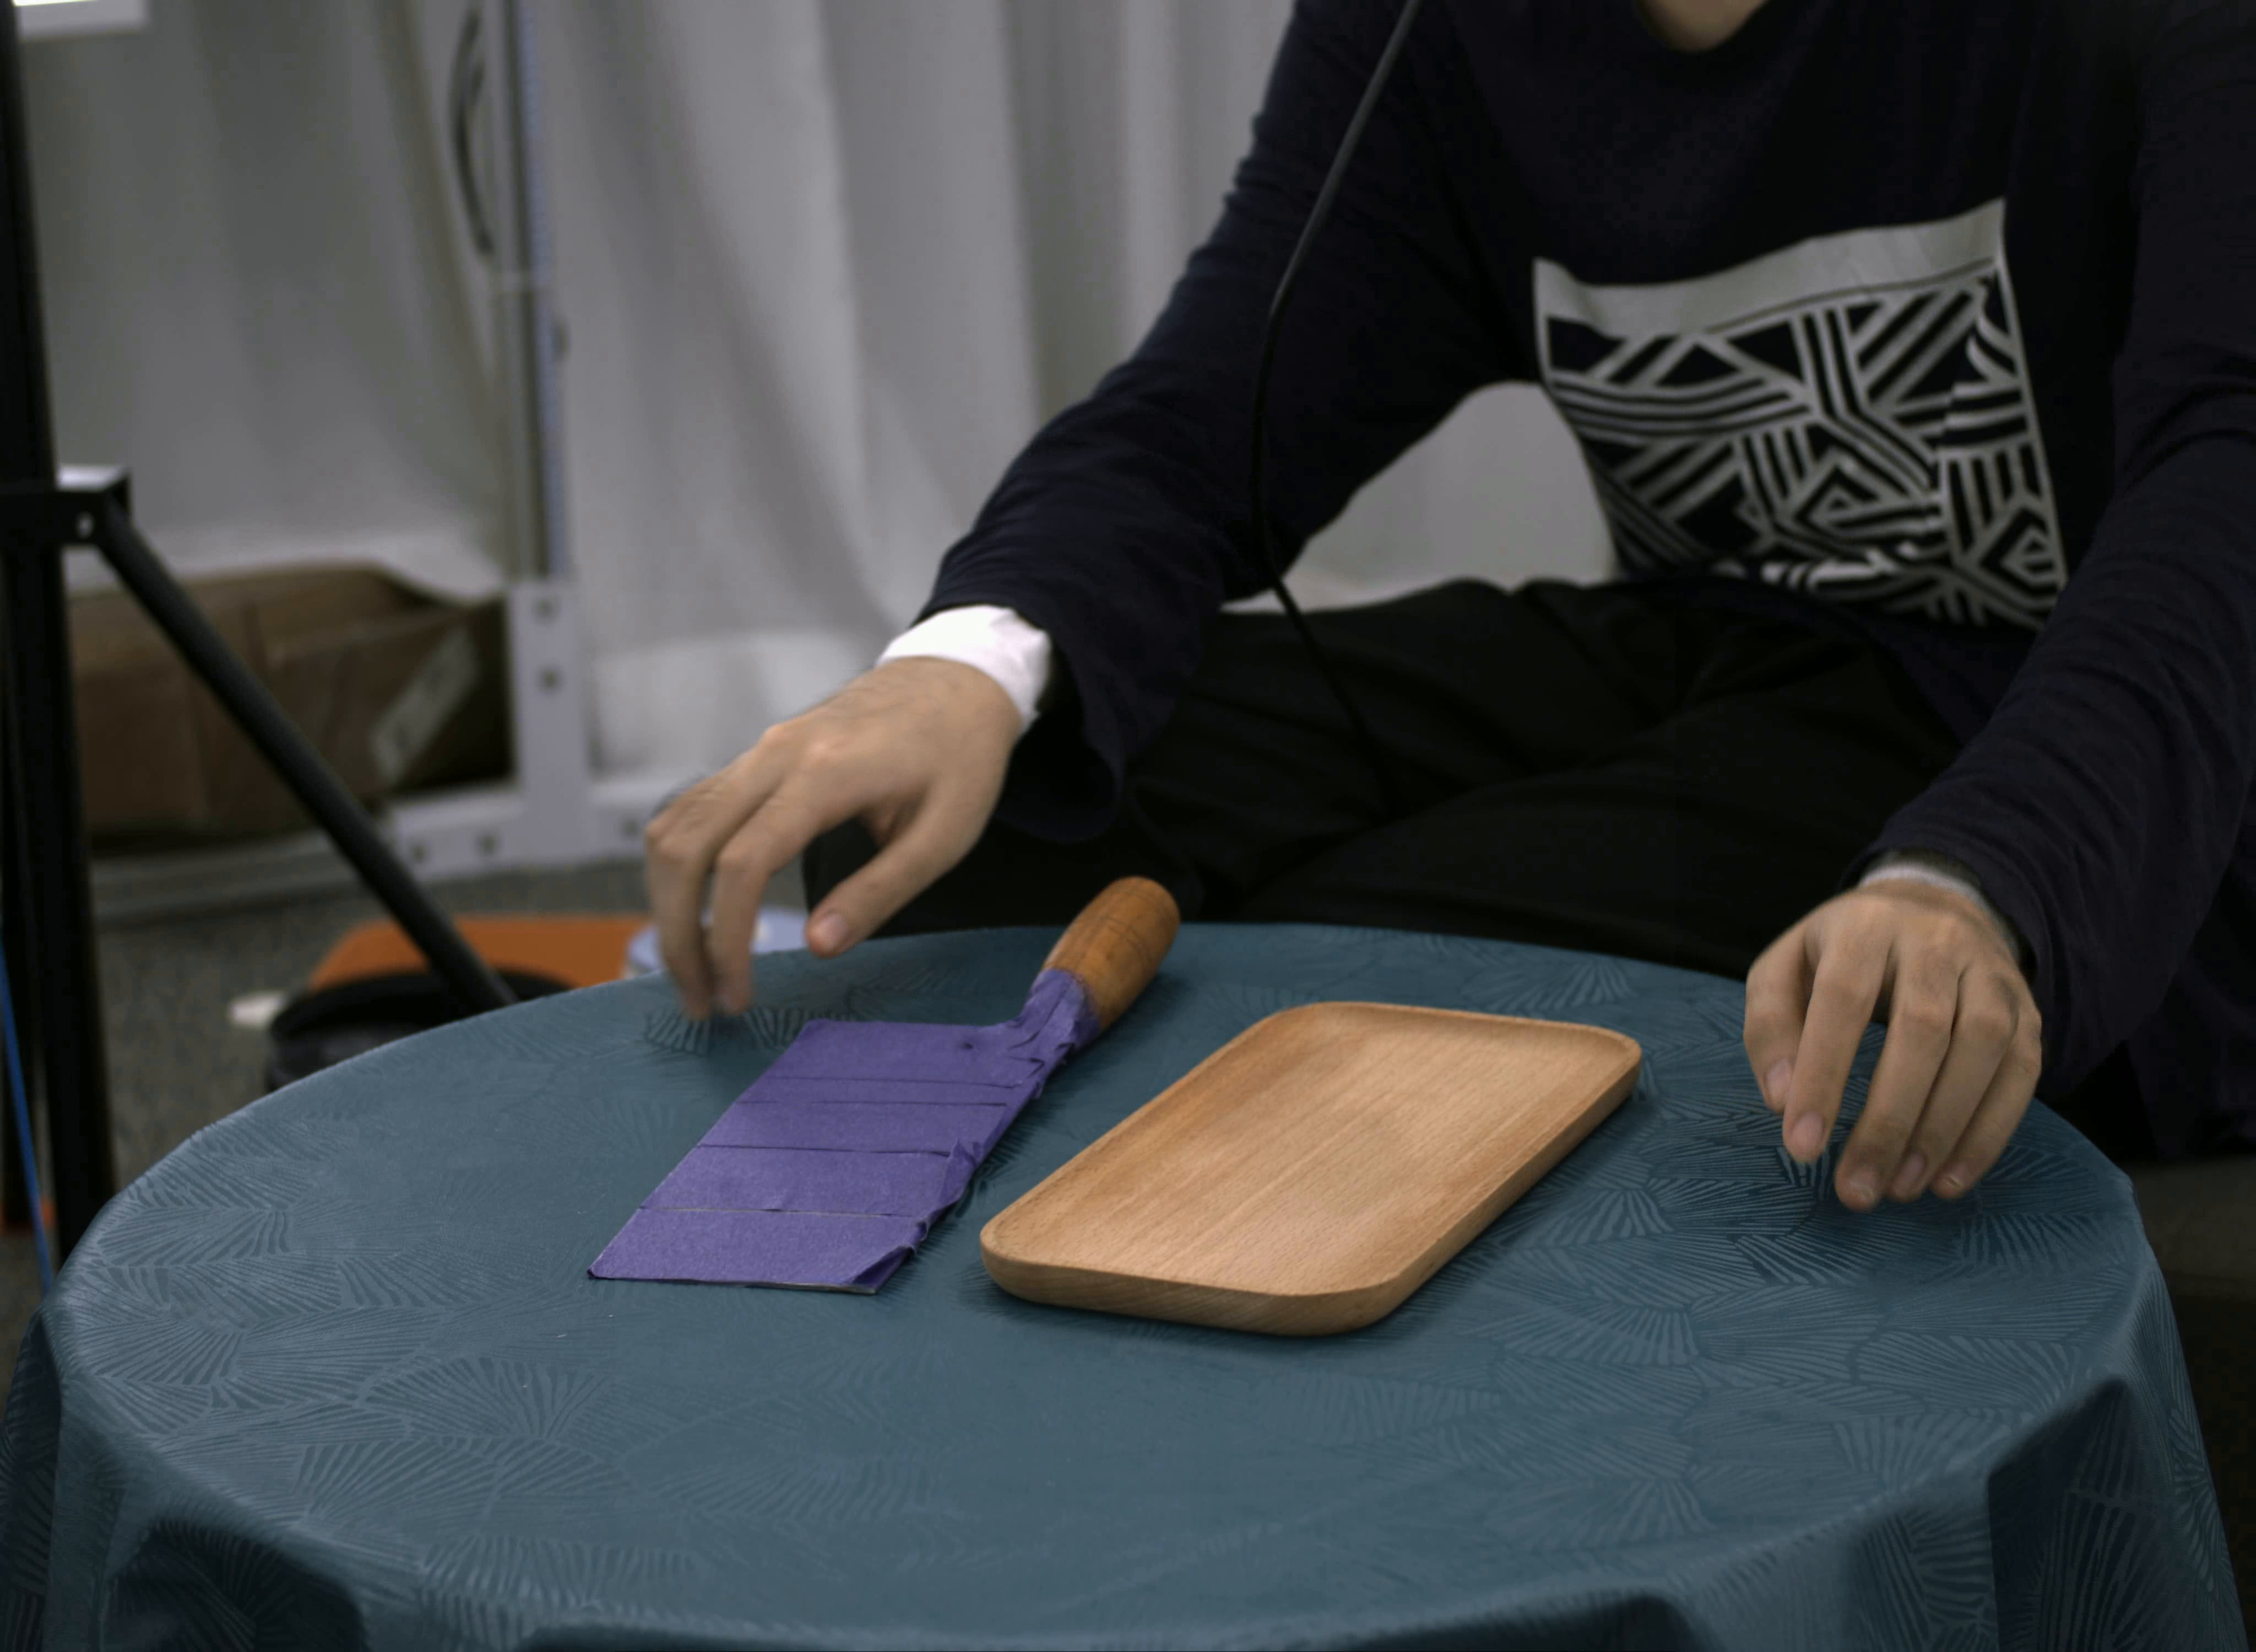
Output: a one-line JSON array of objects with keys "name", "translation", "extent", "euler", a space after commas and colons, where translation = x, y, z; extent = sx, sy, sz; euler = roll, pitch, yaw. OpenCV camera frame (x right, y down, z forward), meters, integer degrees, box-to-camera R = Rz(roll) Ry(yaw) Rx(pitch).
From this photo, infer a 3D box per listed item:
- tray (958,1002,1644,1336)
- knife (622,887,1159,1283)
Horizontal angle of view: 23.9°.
[{"name": "tray", "translation": [0.056, 0.098, 1.559], "extent": [0.133, 0.023, 0.246], "euler": [4, 17, 28]}, {"name": "knife", "translation": [-0.070, 0.076, 1.637], "extent": [0.105, 0.032, 0.312], "euler": [2, 17, 15]}]
